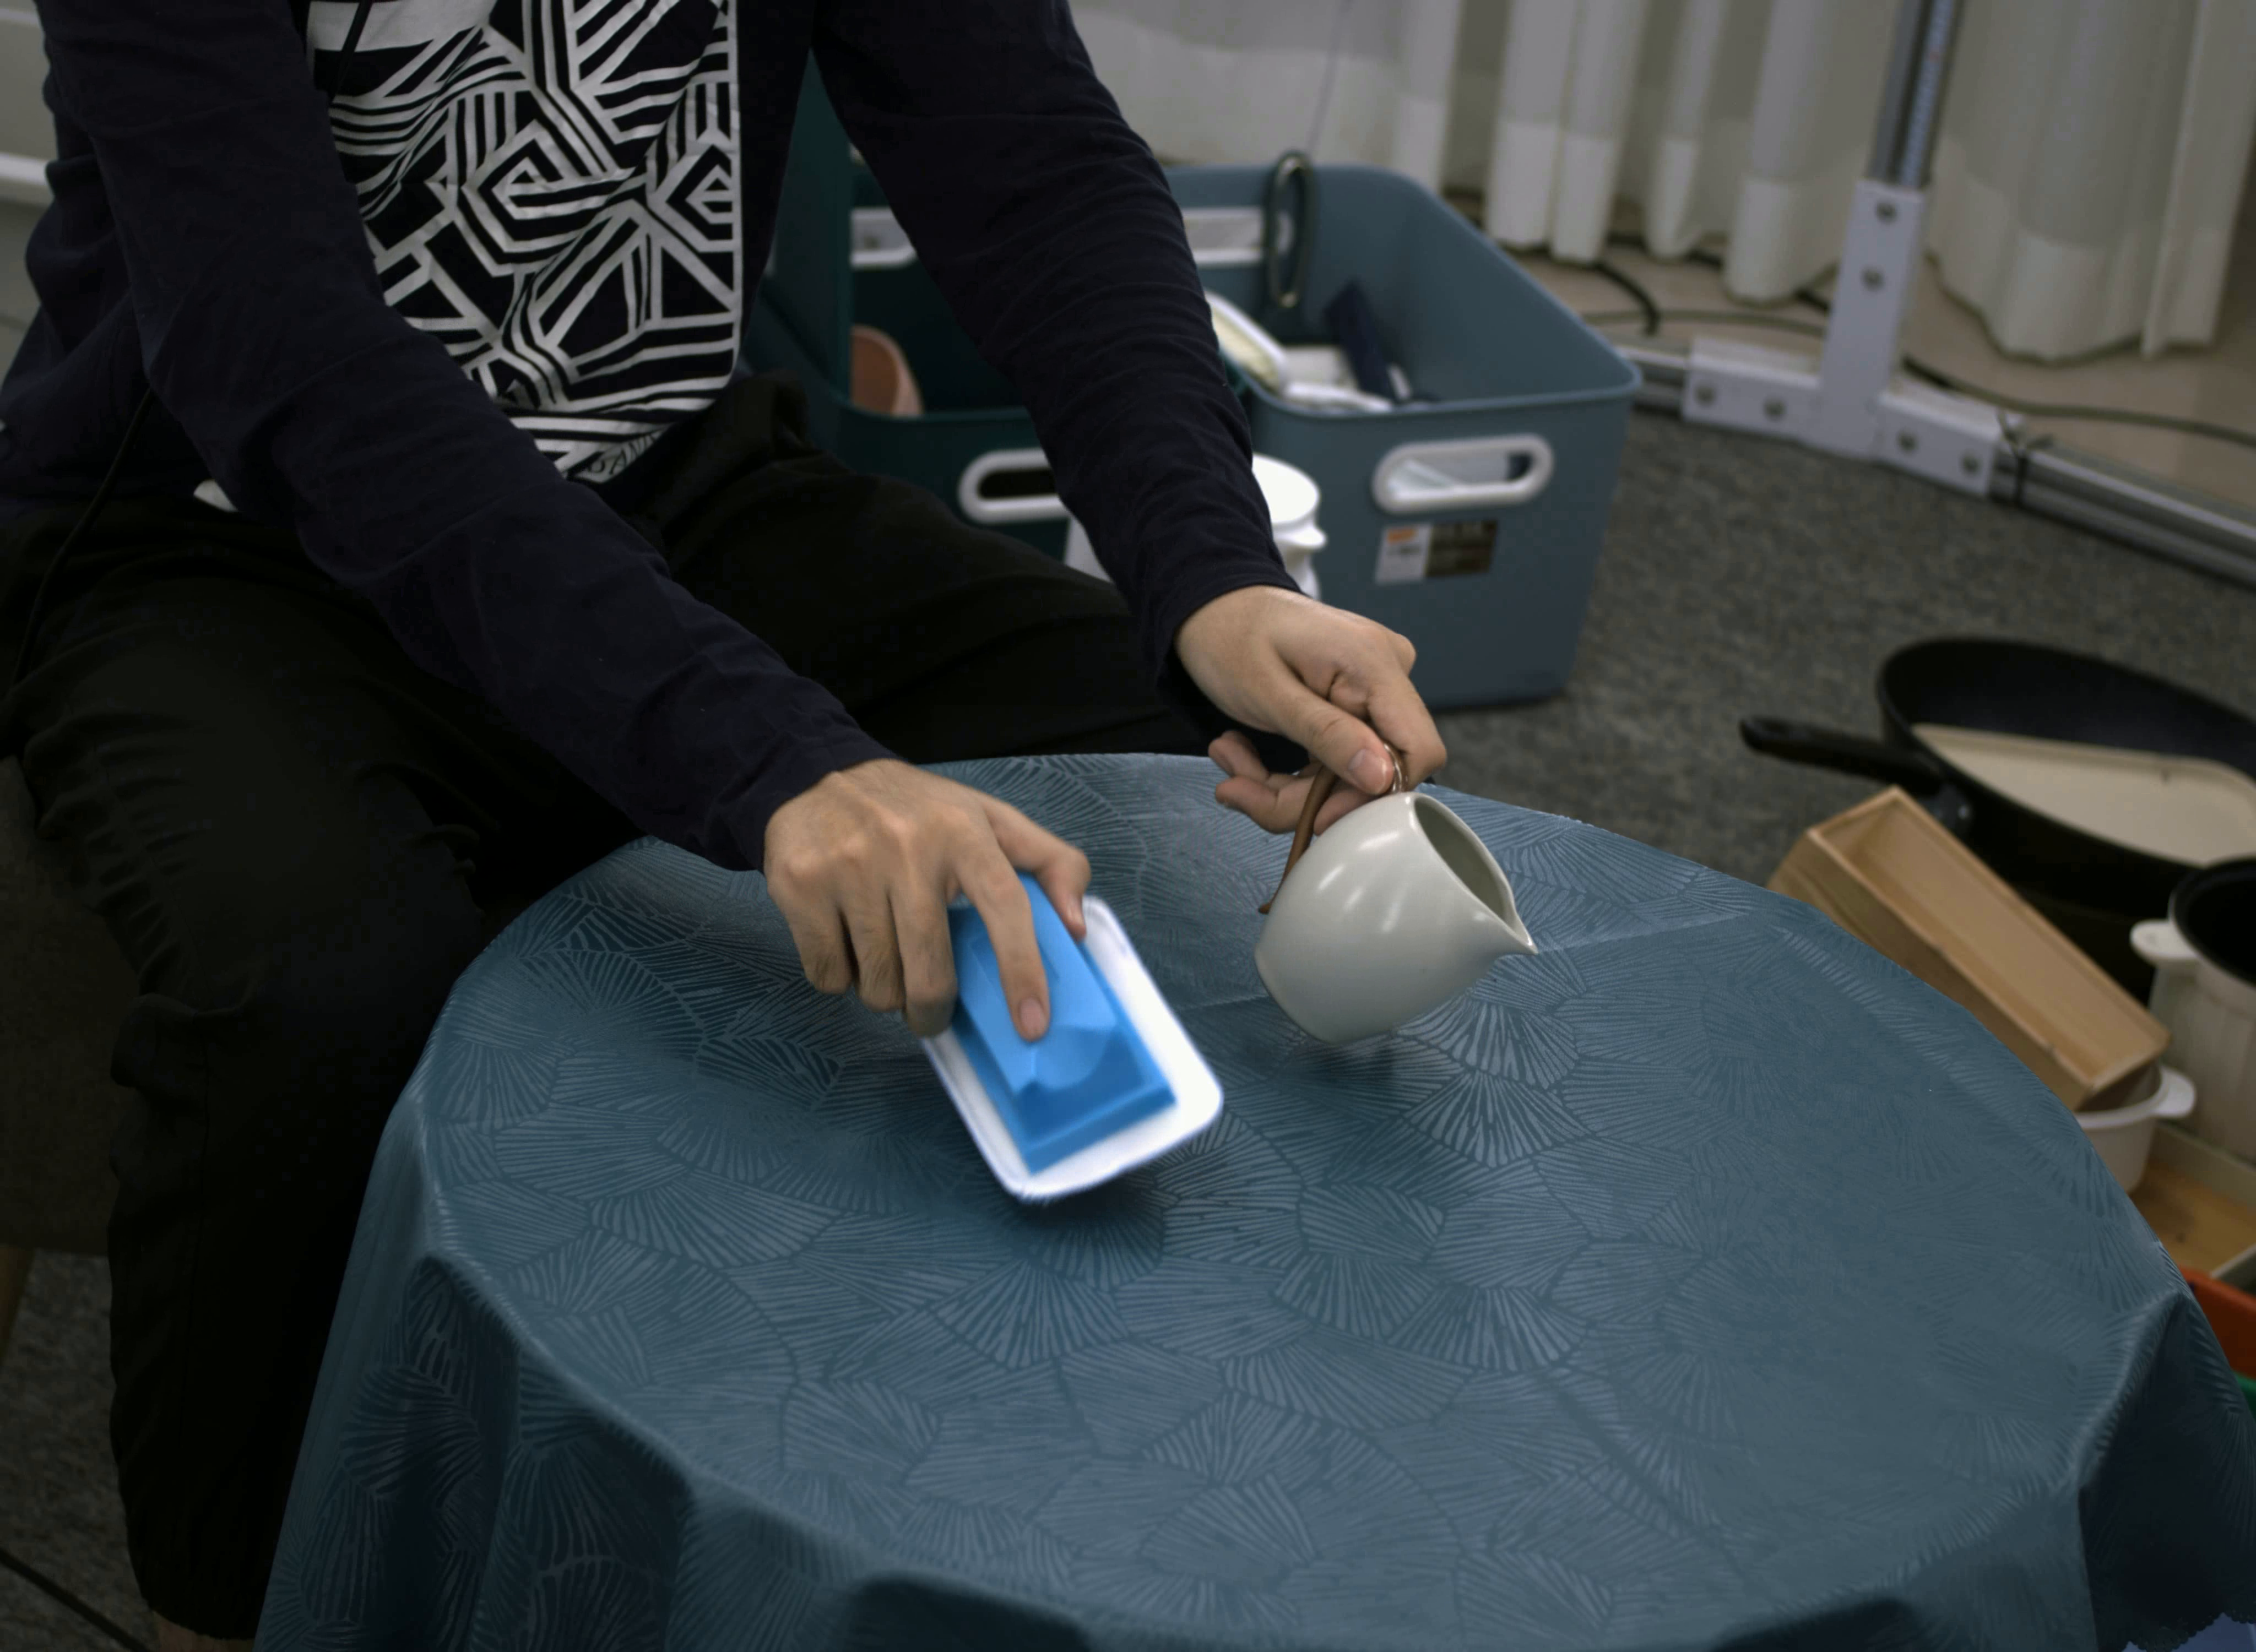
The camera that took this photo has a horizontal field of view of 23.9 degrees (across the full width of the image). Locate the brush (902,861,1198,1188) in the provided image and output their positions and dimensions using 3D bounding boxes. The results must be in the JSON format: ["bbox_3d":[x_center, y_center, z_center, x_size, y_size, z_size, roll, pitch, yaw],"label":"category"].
[{"bbox_3d":[-0.030,0.062,1.822,0.083,0.055,0.145,-22,36,-2],"label":"brush"}]

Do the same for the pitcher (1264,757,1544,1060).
[{"bbox_3d":[0.093,0.035,1.889,0.075,0.088,0.120,30,31,-47],"label":"pitcher"}]
